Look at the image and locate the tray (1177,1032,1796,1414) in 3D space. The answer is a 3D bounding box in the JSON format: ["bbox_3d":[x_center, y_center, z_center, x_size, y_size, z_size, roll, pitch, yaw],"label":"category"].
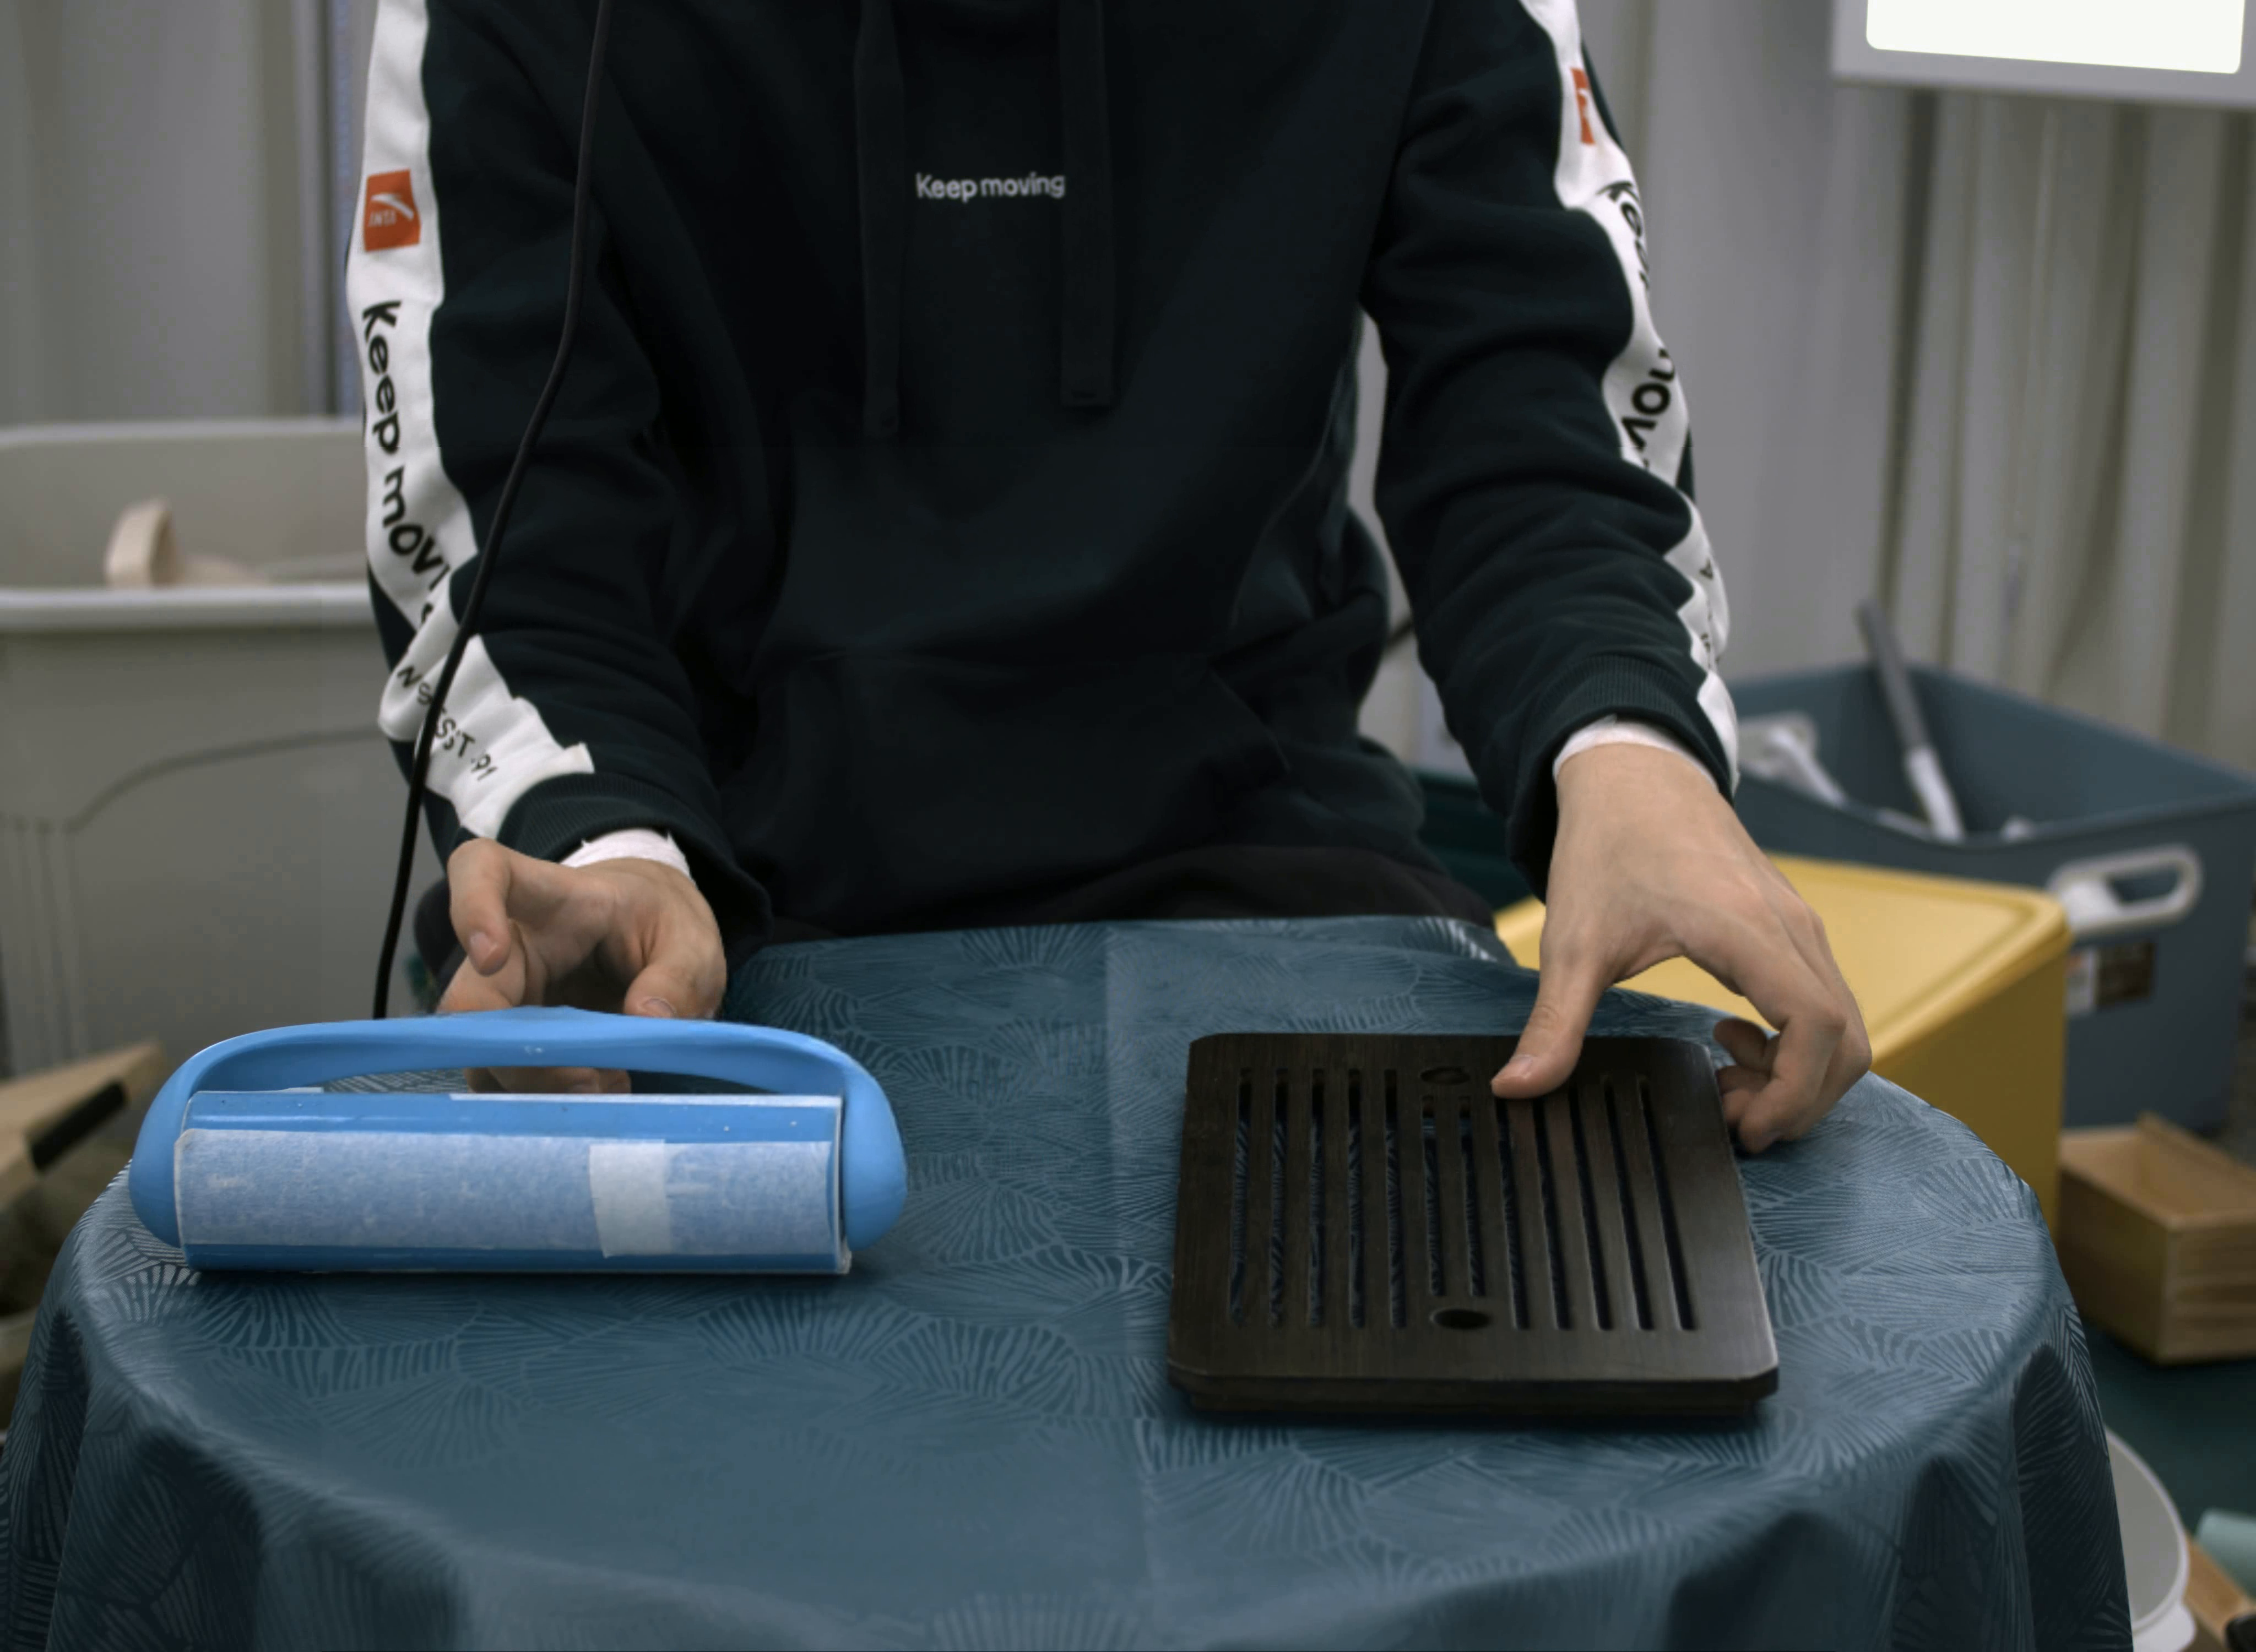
[{"bbox_3d":[0.102,0.116,1.575,0.169,0.019,0.304,1,15,1],"label":"tray"}]

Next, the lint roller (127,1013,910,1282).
[{"bbox_3d":[-0.180,0.087,1.597,0.228,0.068,0.179,-2,17,-2],"label":"lint roller"}]
